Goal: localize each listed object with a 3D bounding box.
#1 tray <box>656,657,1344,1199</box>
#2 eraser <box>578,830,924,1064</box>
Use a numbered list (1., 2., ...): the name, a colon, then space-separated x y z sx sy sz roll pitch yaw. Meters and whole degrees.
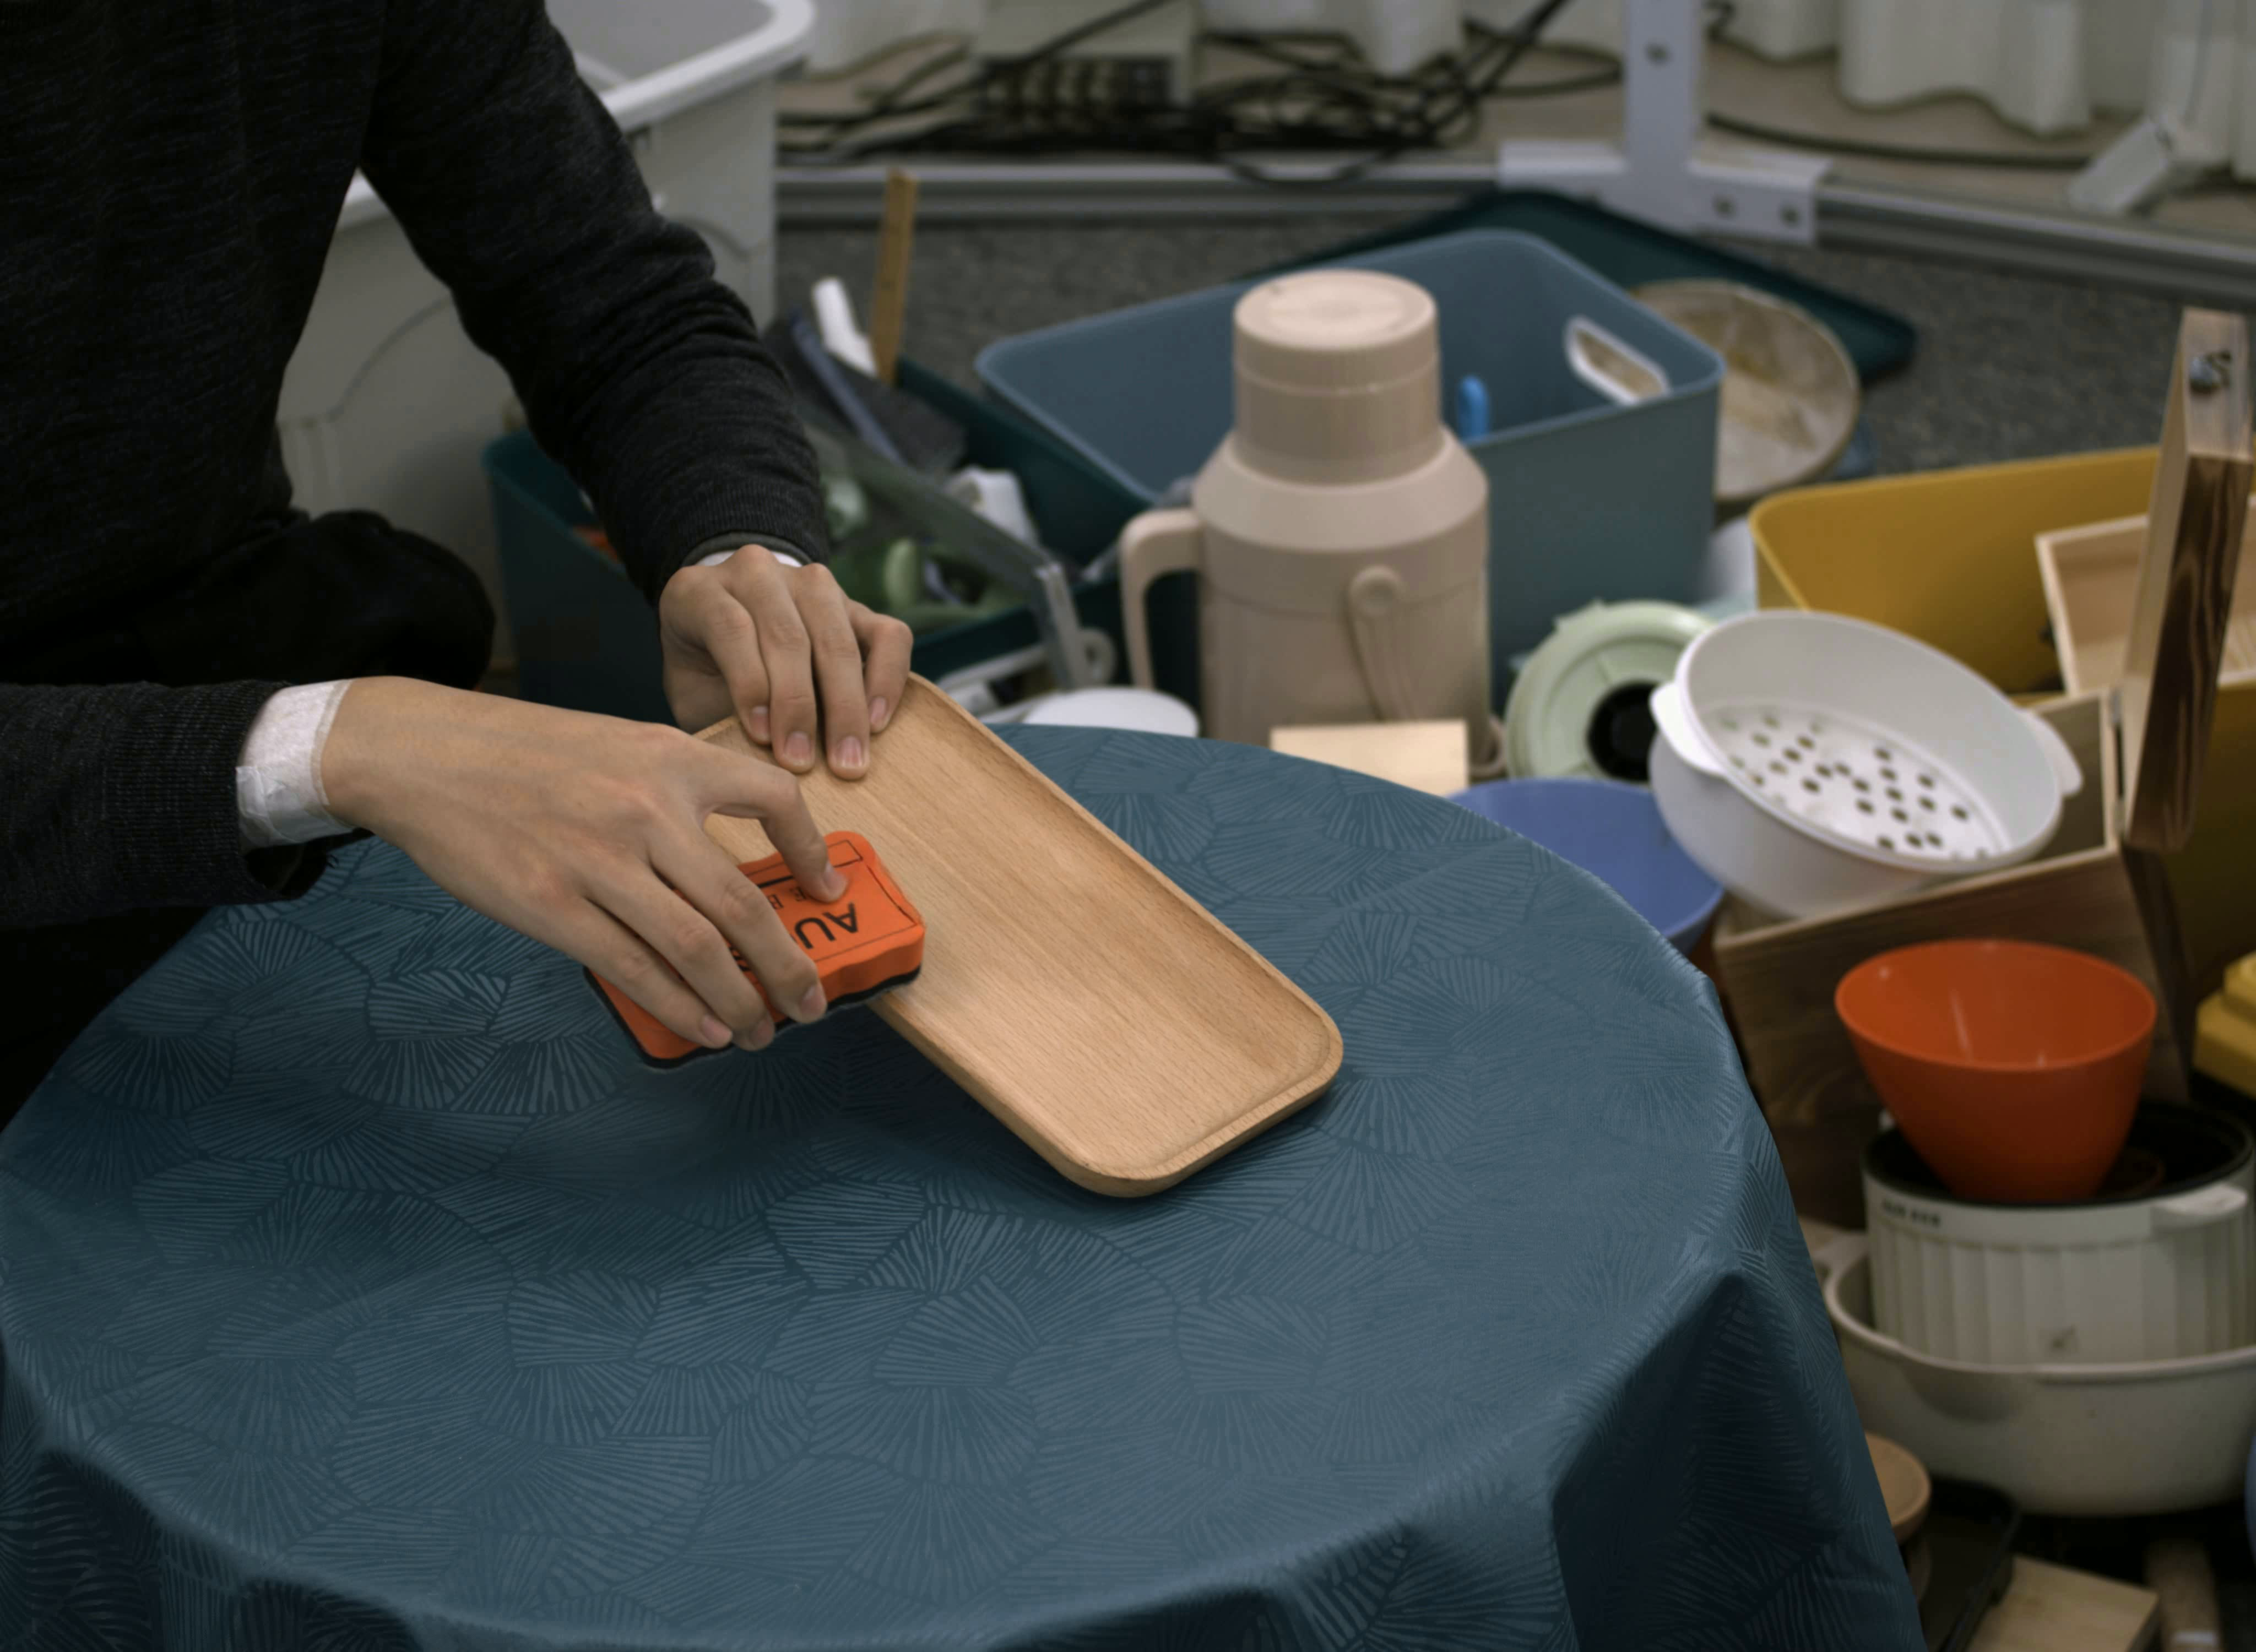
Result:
1. tray: -0.046 0.033 1.933 0.132 0.022 0.252 -24 53 -40
2. eraser: -0.126 0.040 1.878 0.109 0.022 0.059 -18 50 -26
